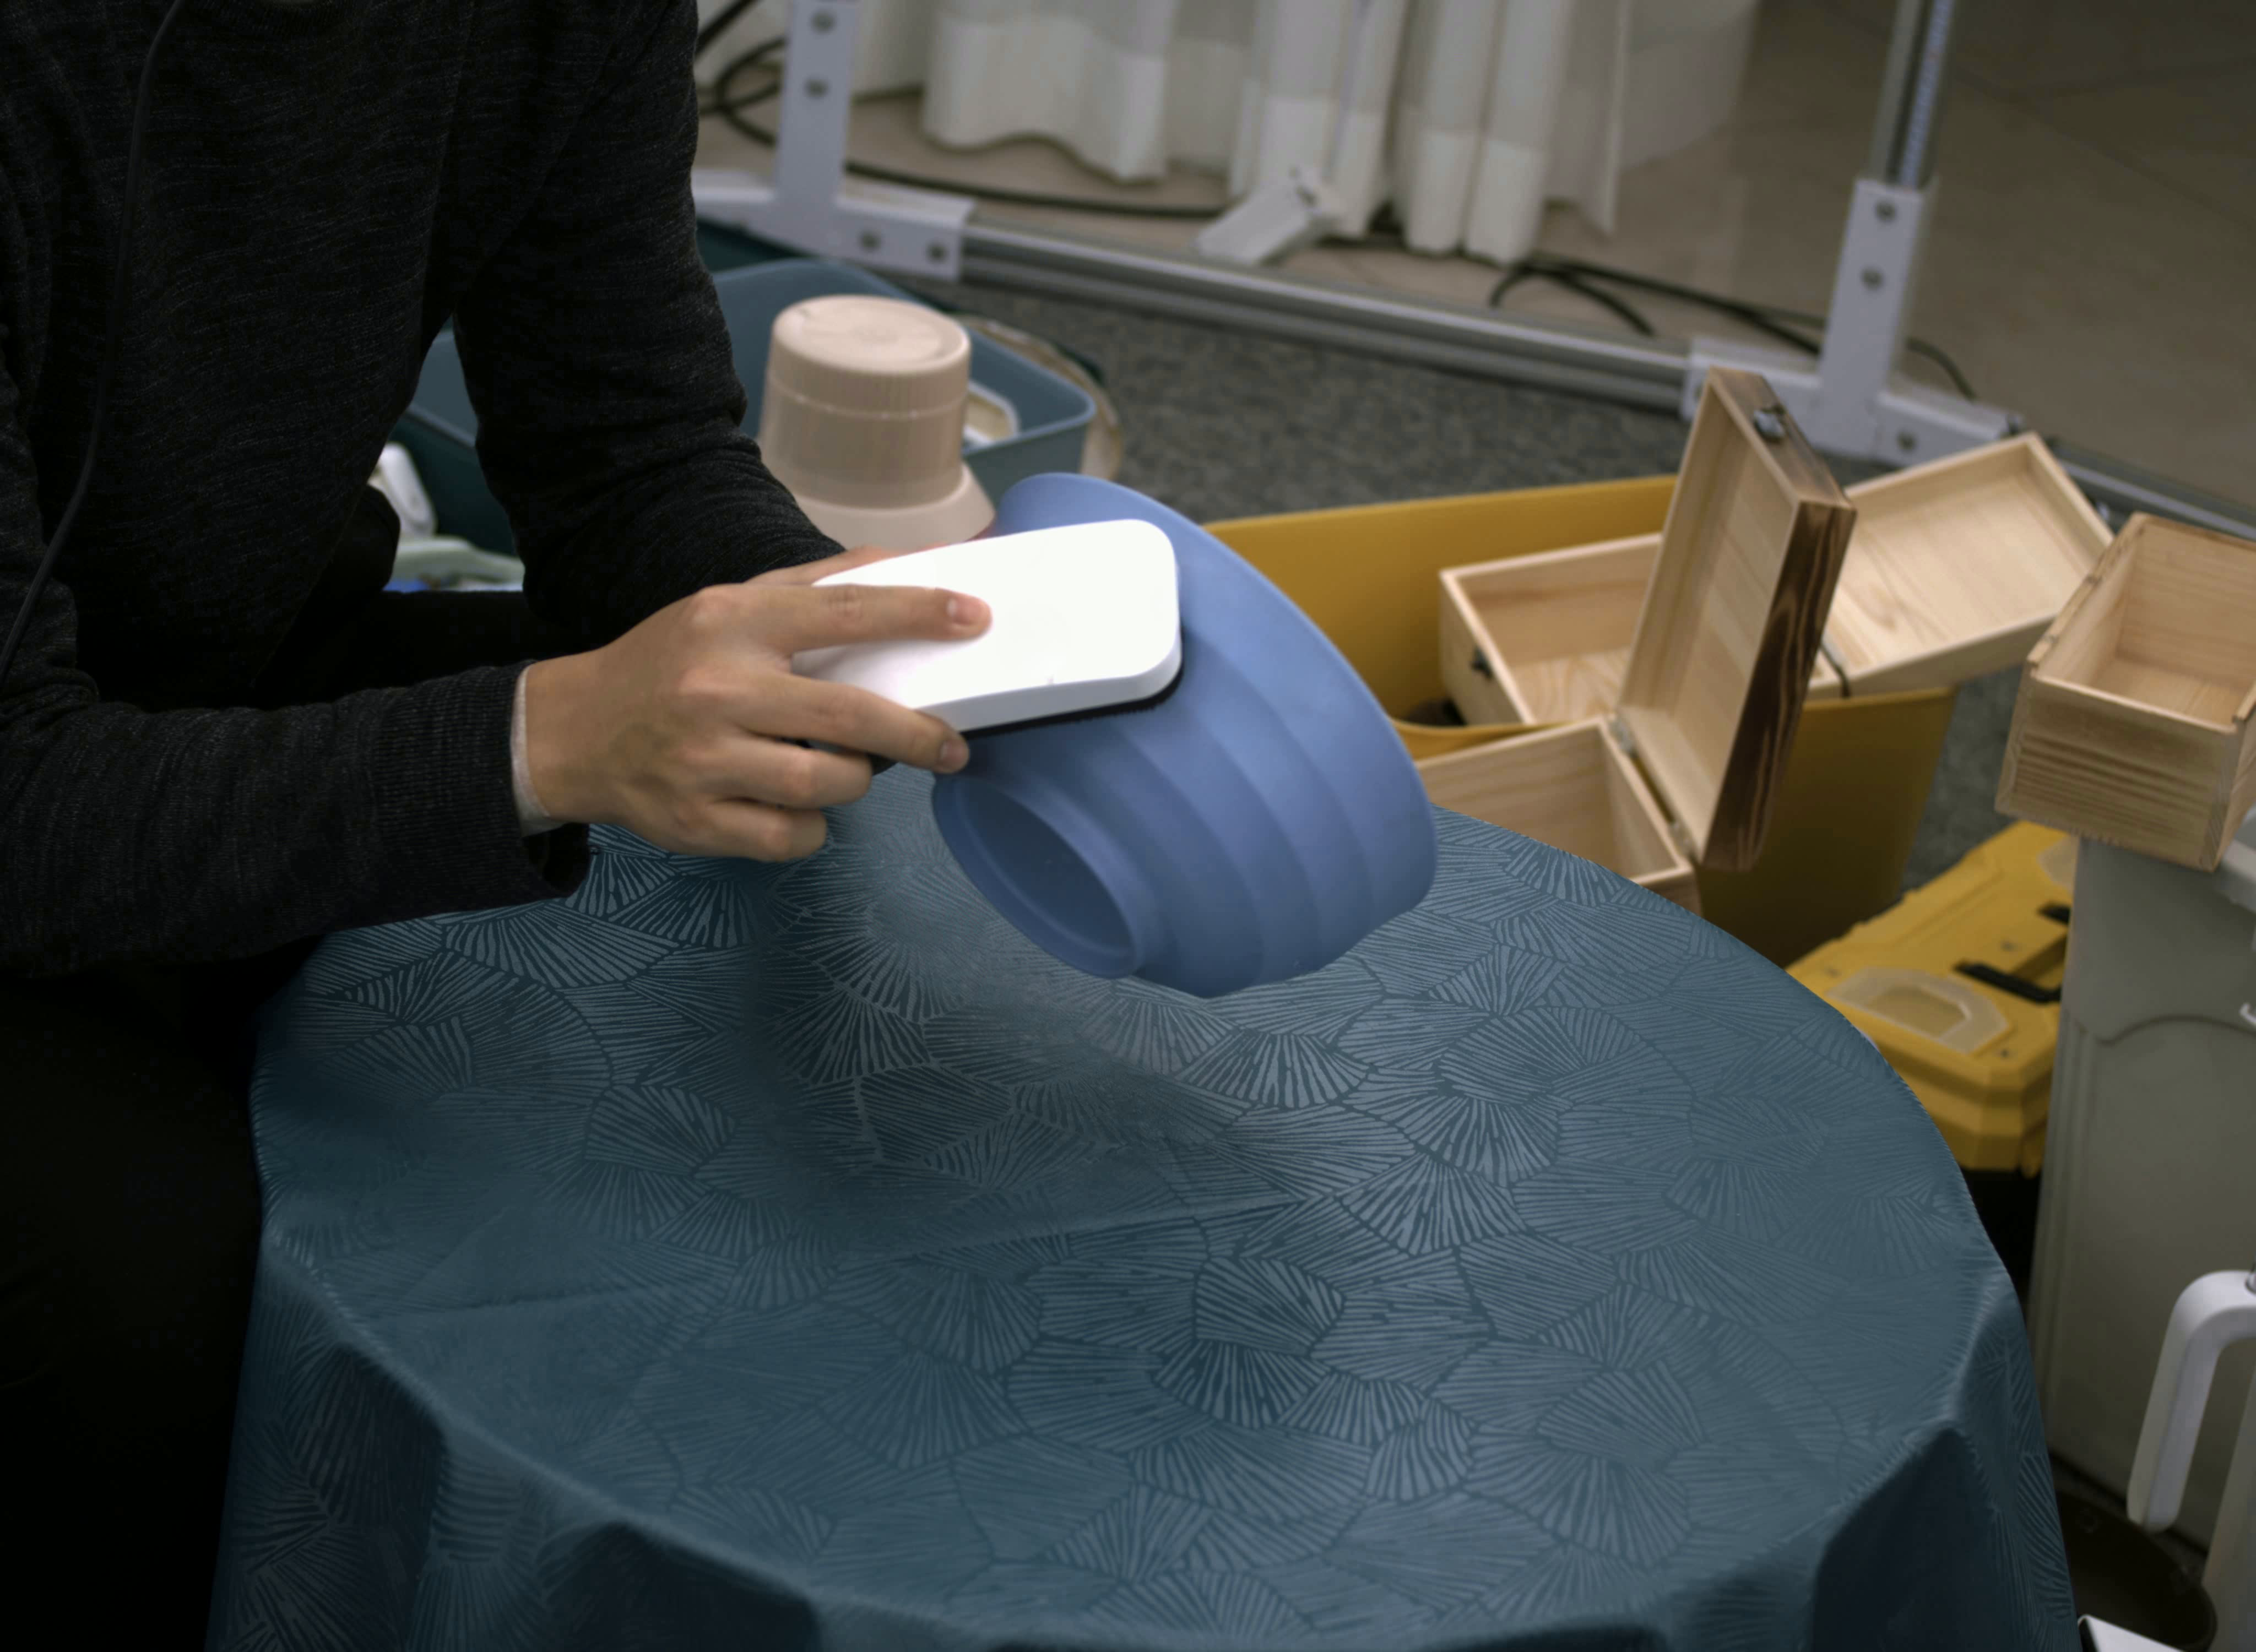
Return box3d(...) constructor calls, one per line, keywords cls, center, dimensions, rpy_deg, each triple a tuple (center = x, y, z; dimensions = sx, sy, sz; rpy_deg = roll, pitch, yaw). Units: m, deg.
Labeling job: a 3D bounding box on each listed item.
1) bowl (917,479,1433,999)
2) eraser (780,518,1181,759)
box3d(cls="bowl", center=(-0.003, -0.012, 1.778), dimensions=(0.198, 0.195, 0.095), rpy_deg=(29, 63, 36))
box3d(cls="eraser", center=(-0.047, -0.061, 1.699), dimensions=(0.131, 0.034, 0.064), rpy_deg=(-9, 55, 15))
